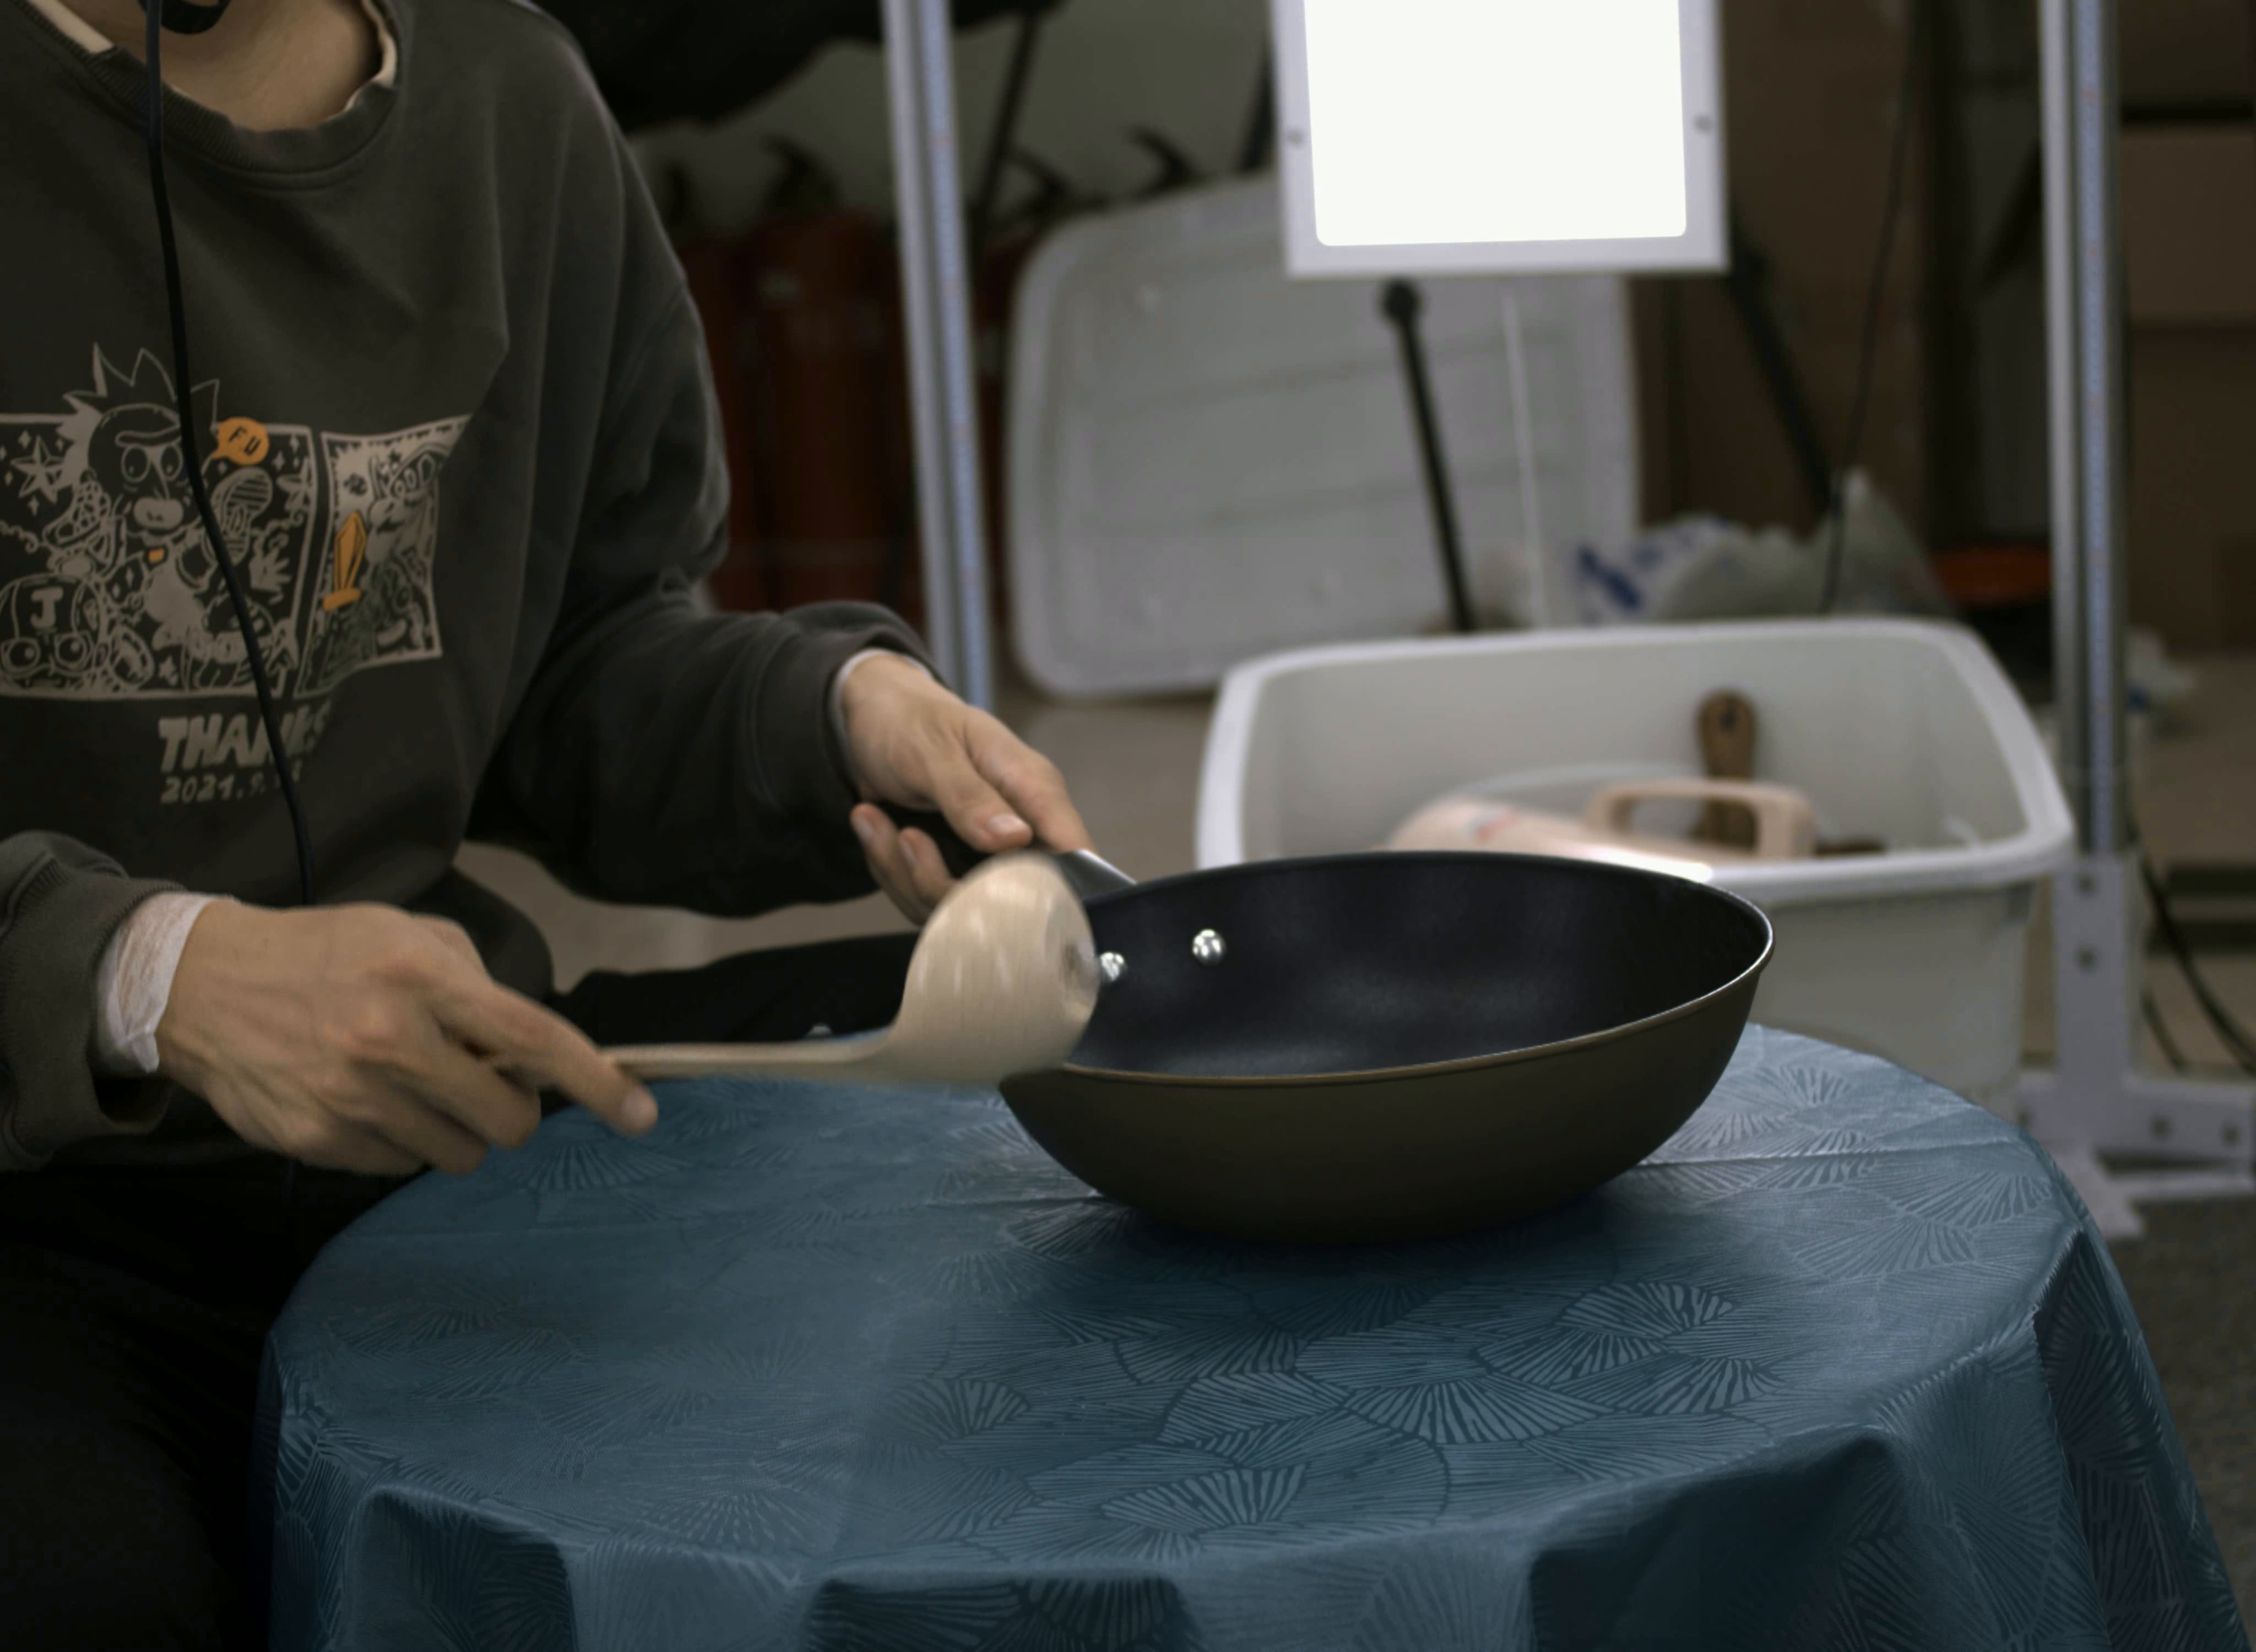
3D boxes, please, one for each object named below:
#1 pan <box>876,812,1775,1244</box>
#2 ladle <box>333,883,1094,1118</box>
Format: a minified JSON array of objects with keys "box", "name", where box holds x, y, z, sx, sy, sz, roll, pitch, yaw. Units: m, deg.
[{"box":[0.032,0.067,1.952,0.281,0.087,0.472,-14,15,-30],"name":"pan"},{"box":[-0.132,0.055,1.740,0.259,0.072,0.071,-1,-31,26],"name":"ladle"}]
